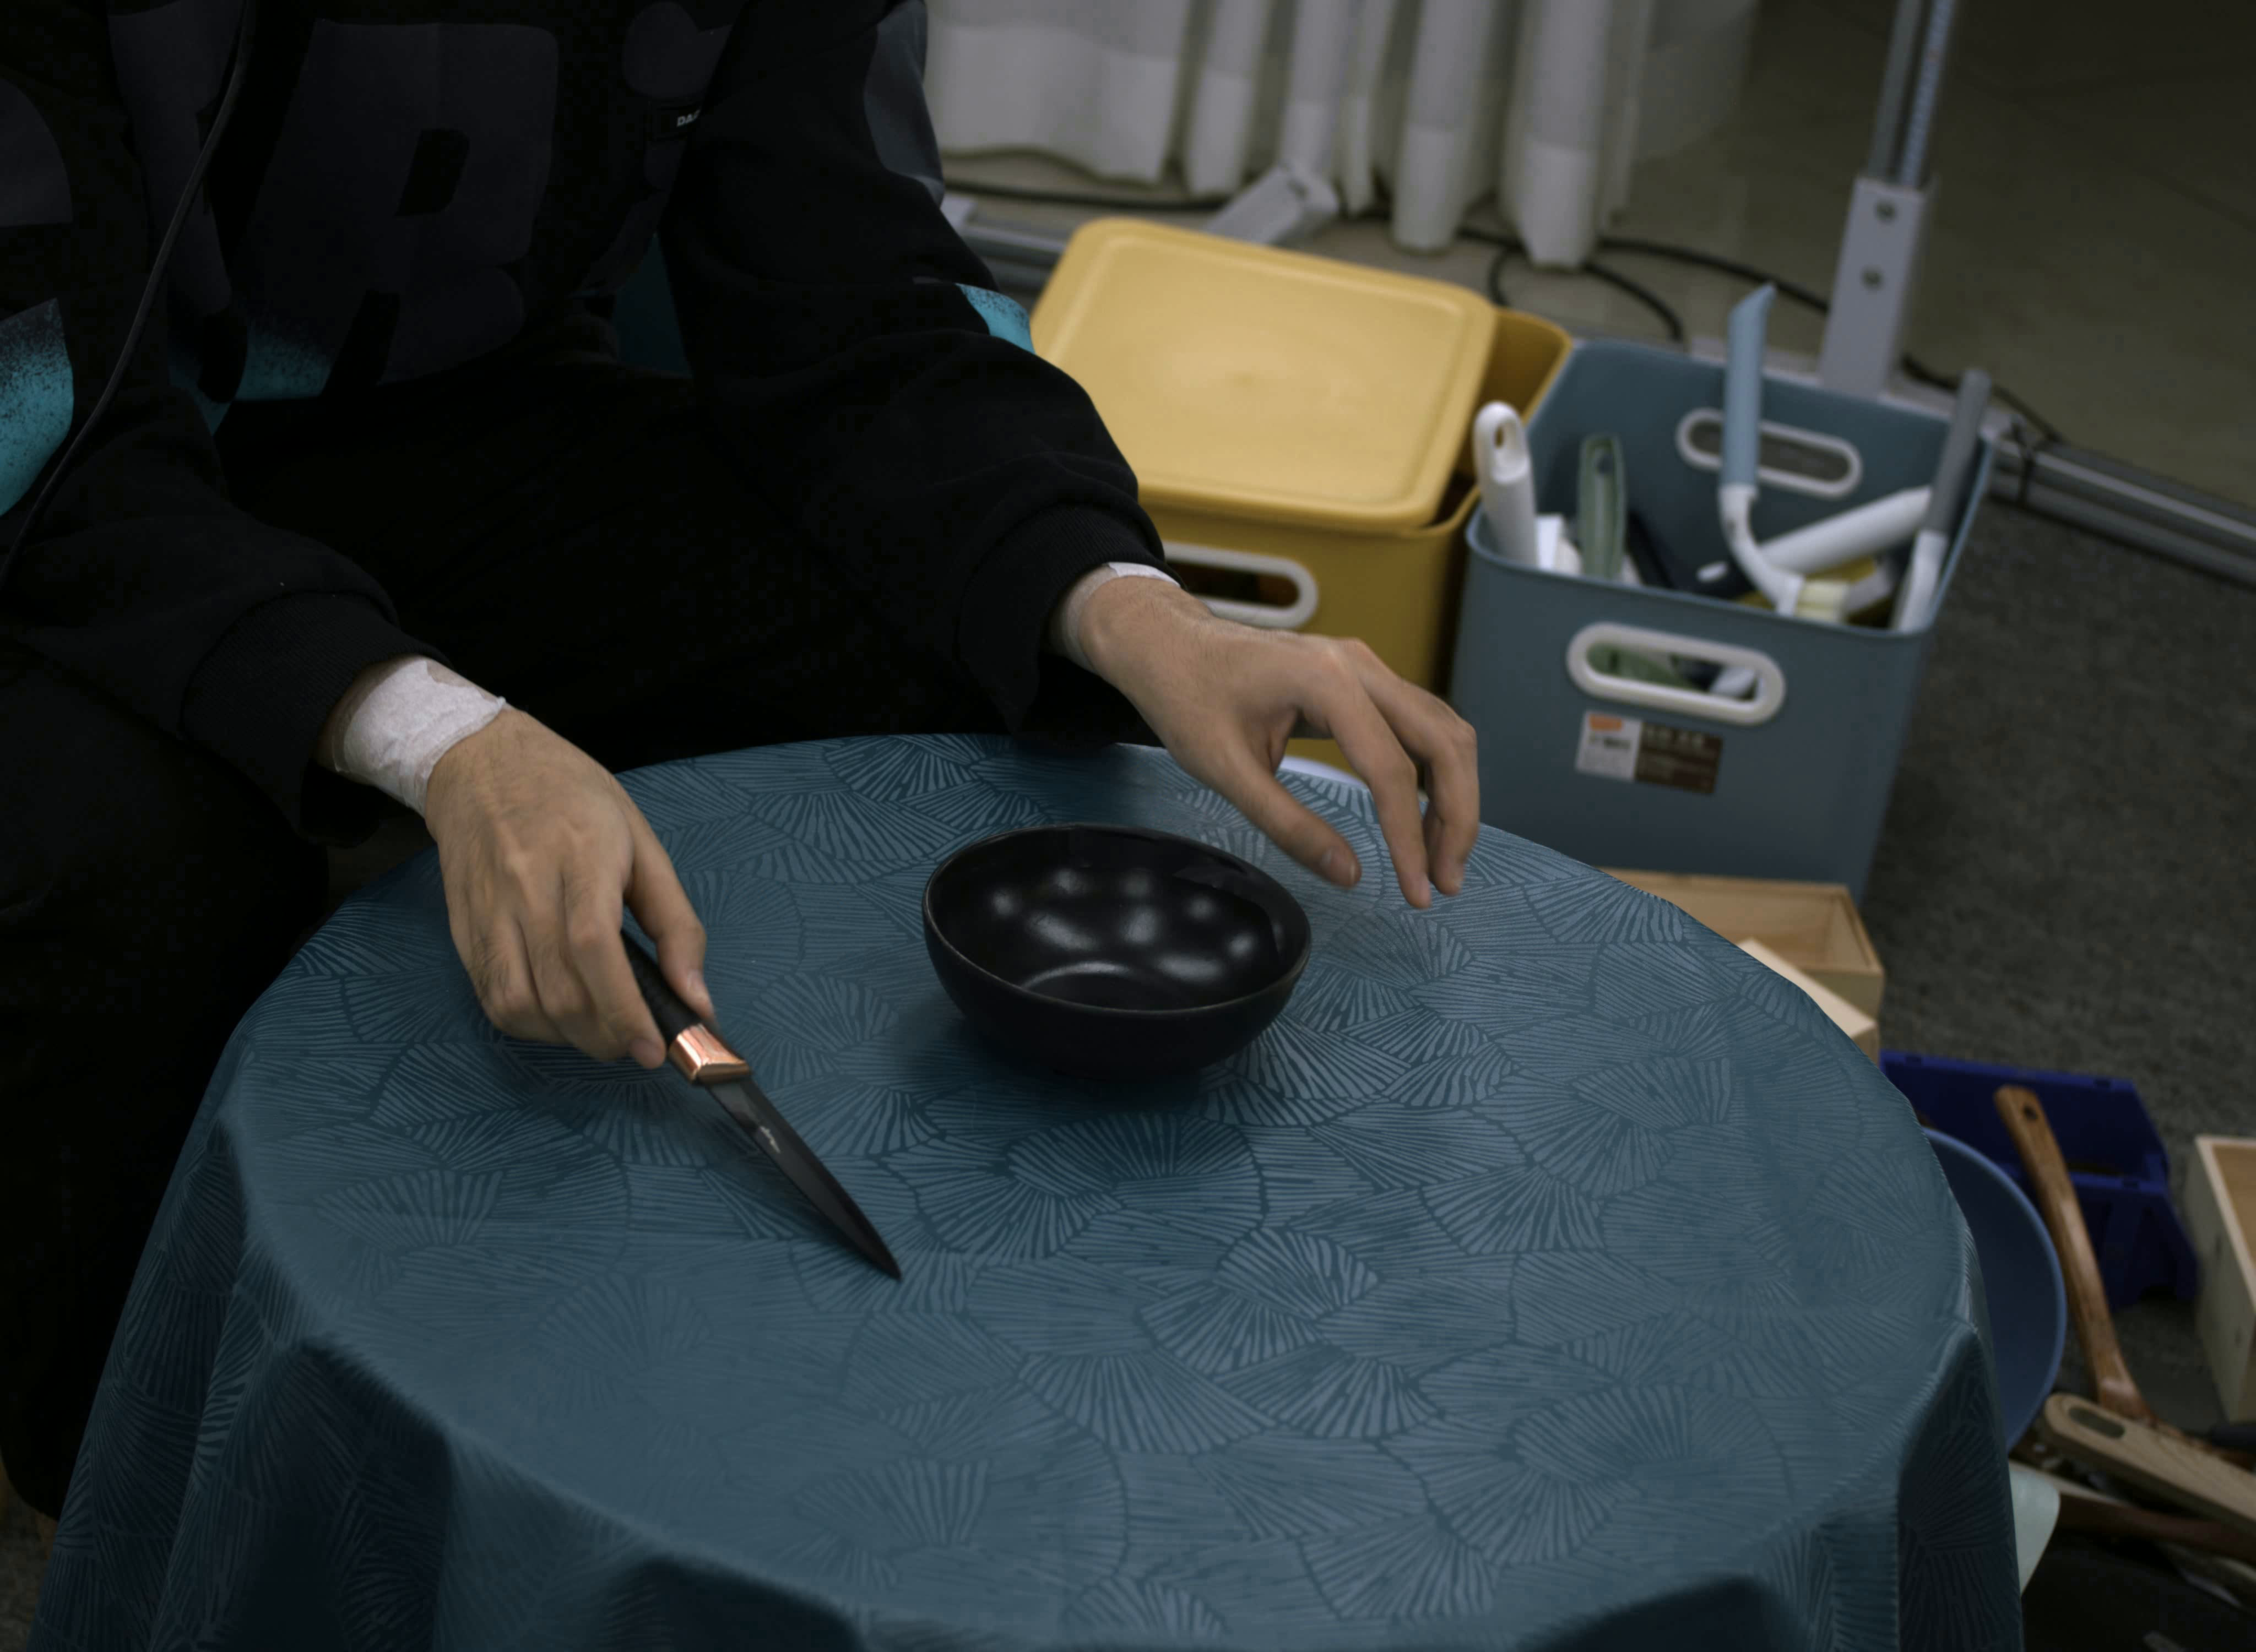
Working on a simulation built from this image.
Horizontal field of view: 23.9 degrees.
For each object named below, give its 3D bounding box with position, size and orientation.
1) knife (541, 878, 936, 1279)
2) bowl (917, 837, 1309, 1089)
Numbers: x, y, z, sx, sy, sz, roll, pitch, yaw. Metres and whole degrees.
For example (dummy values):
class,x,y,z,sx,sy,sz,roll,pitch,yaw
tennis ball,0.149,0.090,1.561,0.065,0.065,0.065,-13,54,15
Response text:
class,x,y,z,sx,sy,sz,roll,pitch,yaw
knife,-0.135,0.085,1.805,0.026,0.017,0.227,1,33,-45
bowl,-0.006,0.055,1.887,0.139,0.049,0.141,2,25,-1
